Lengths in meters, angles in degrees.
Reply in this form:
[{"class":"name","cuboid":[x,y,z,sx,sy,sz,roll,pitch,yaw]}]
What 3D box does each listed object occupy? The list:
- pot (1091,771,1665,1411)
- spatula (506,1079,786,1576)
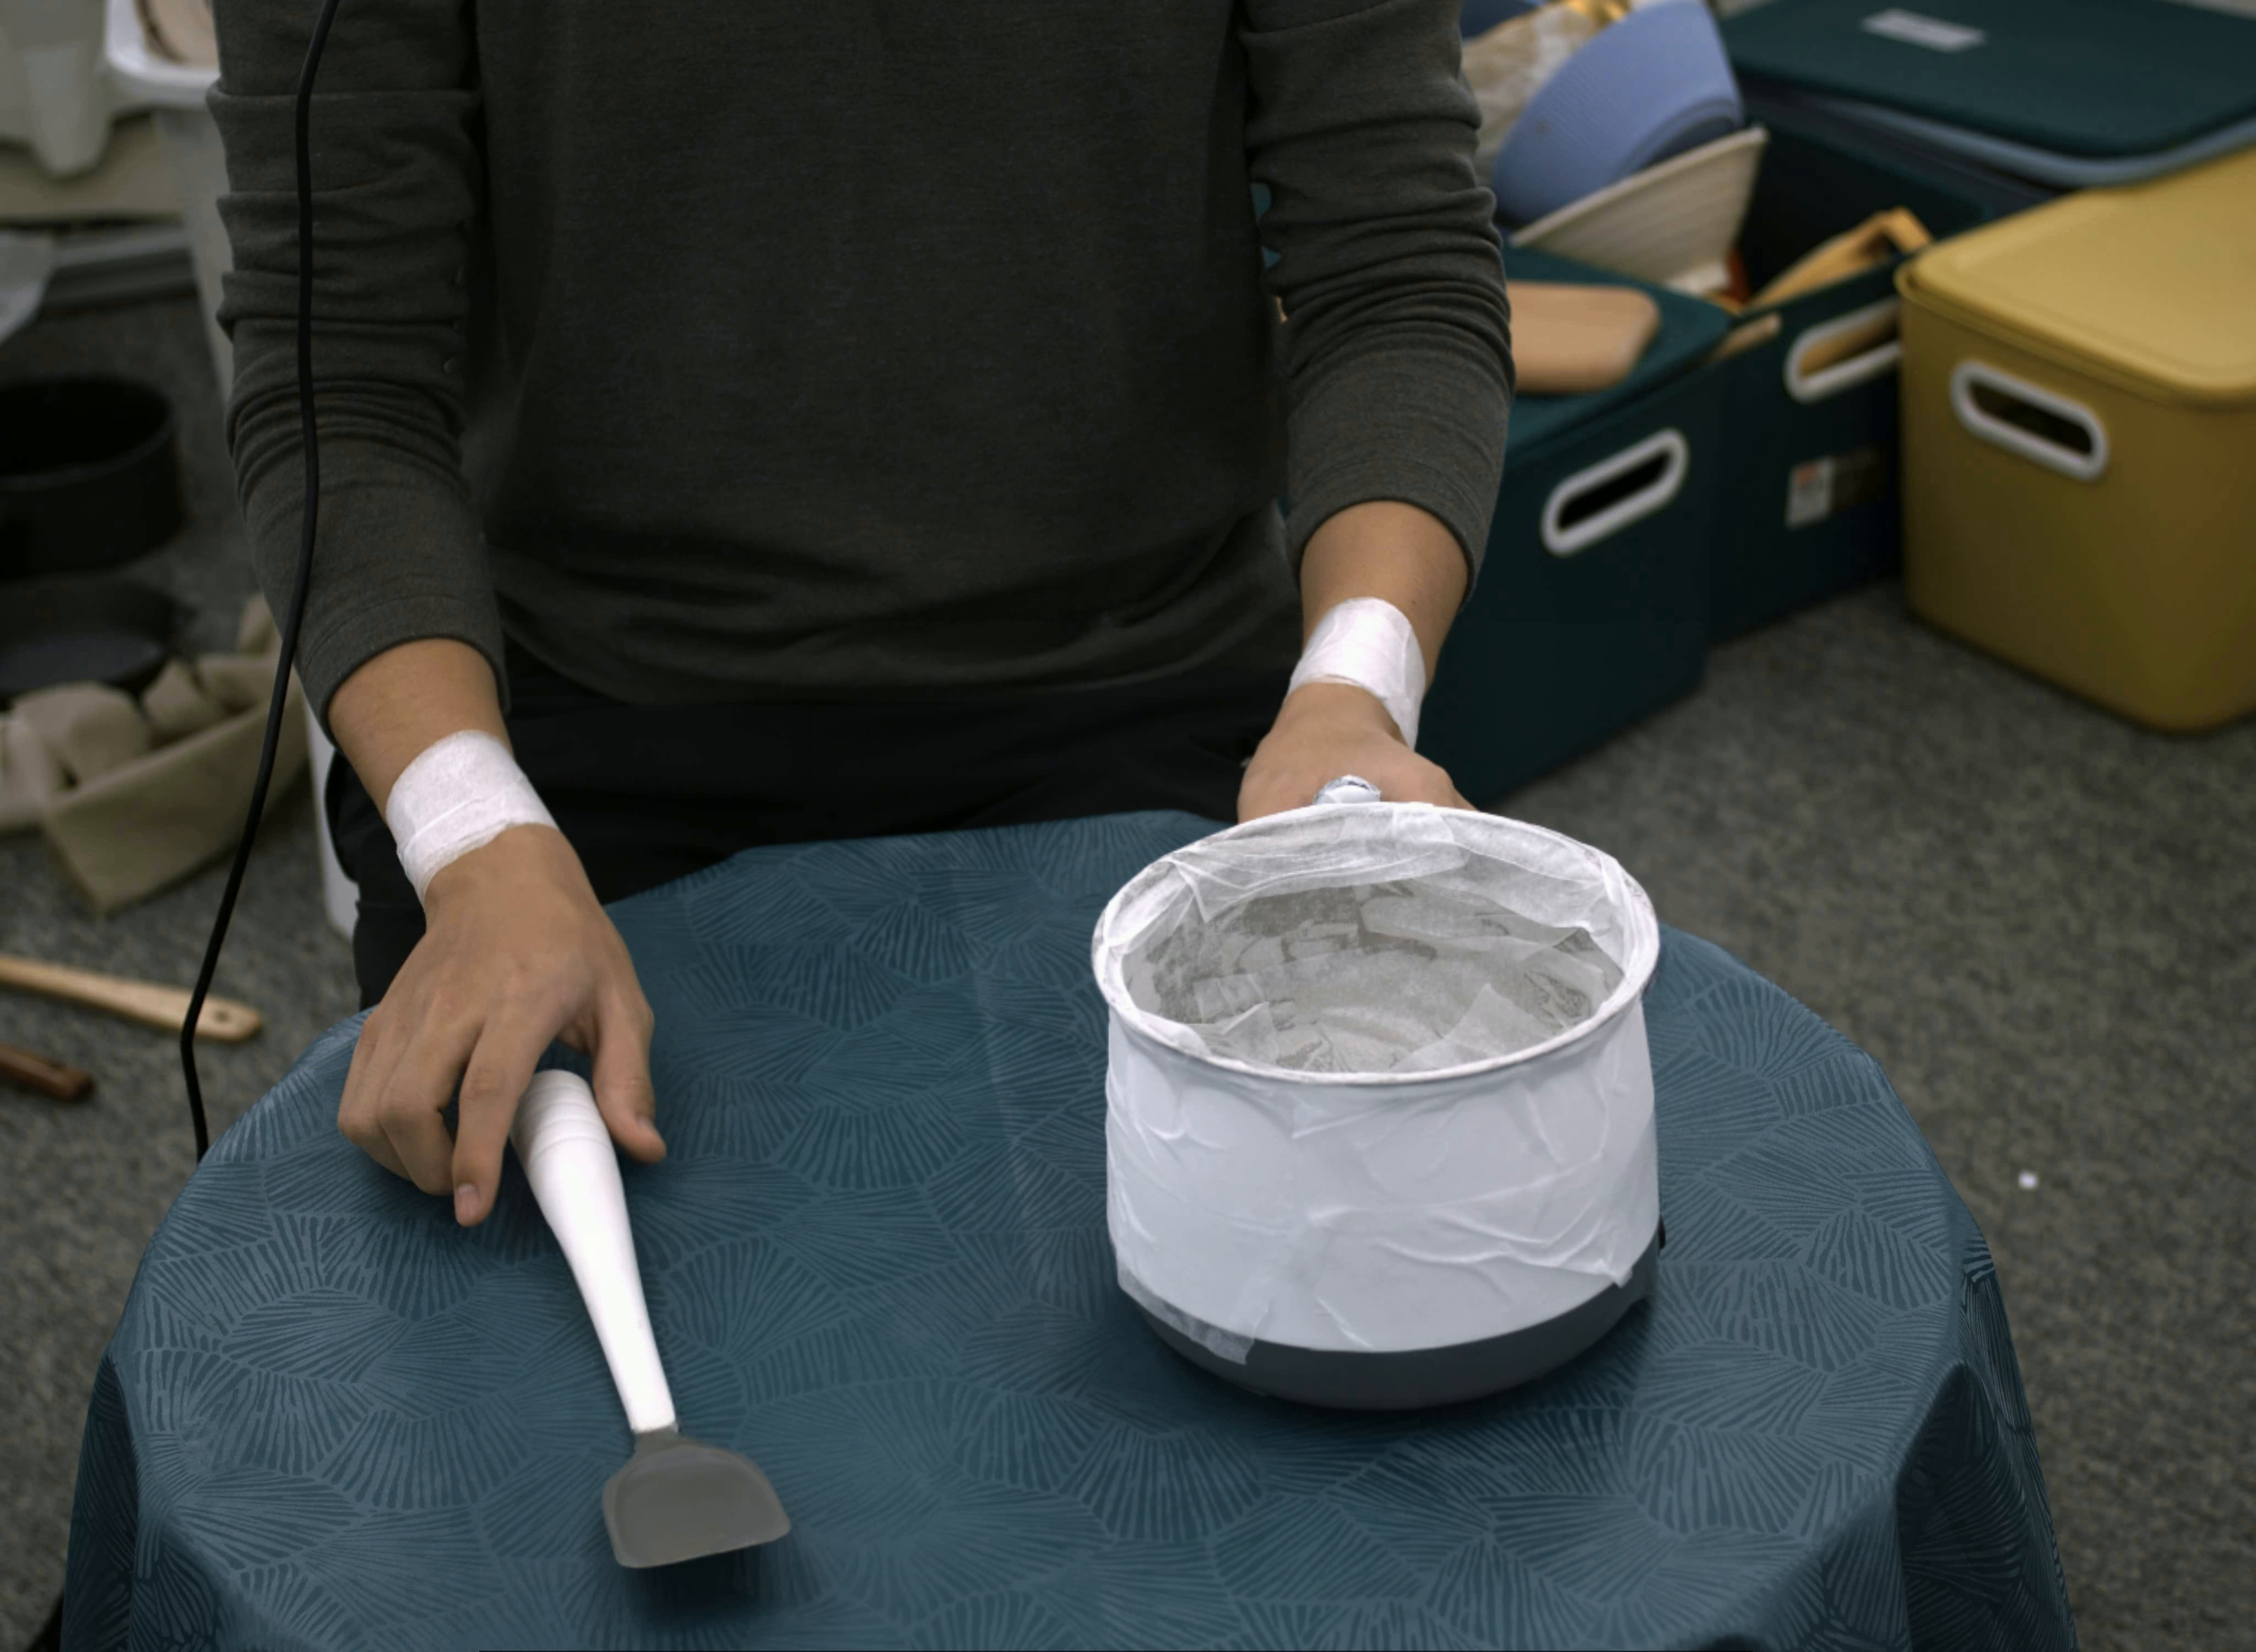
[{"class":"pot","cuboid":[0.078,0.077,1.794,0.178,0.135,0.237,-4,27,-2]},{"class":"spatula","cuboid":[-0.159,0.161,1.766,0.058,0.032,0.290,-6,27,-12]}]
